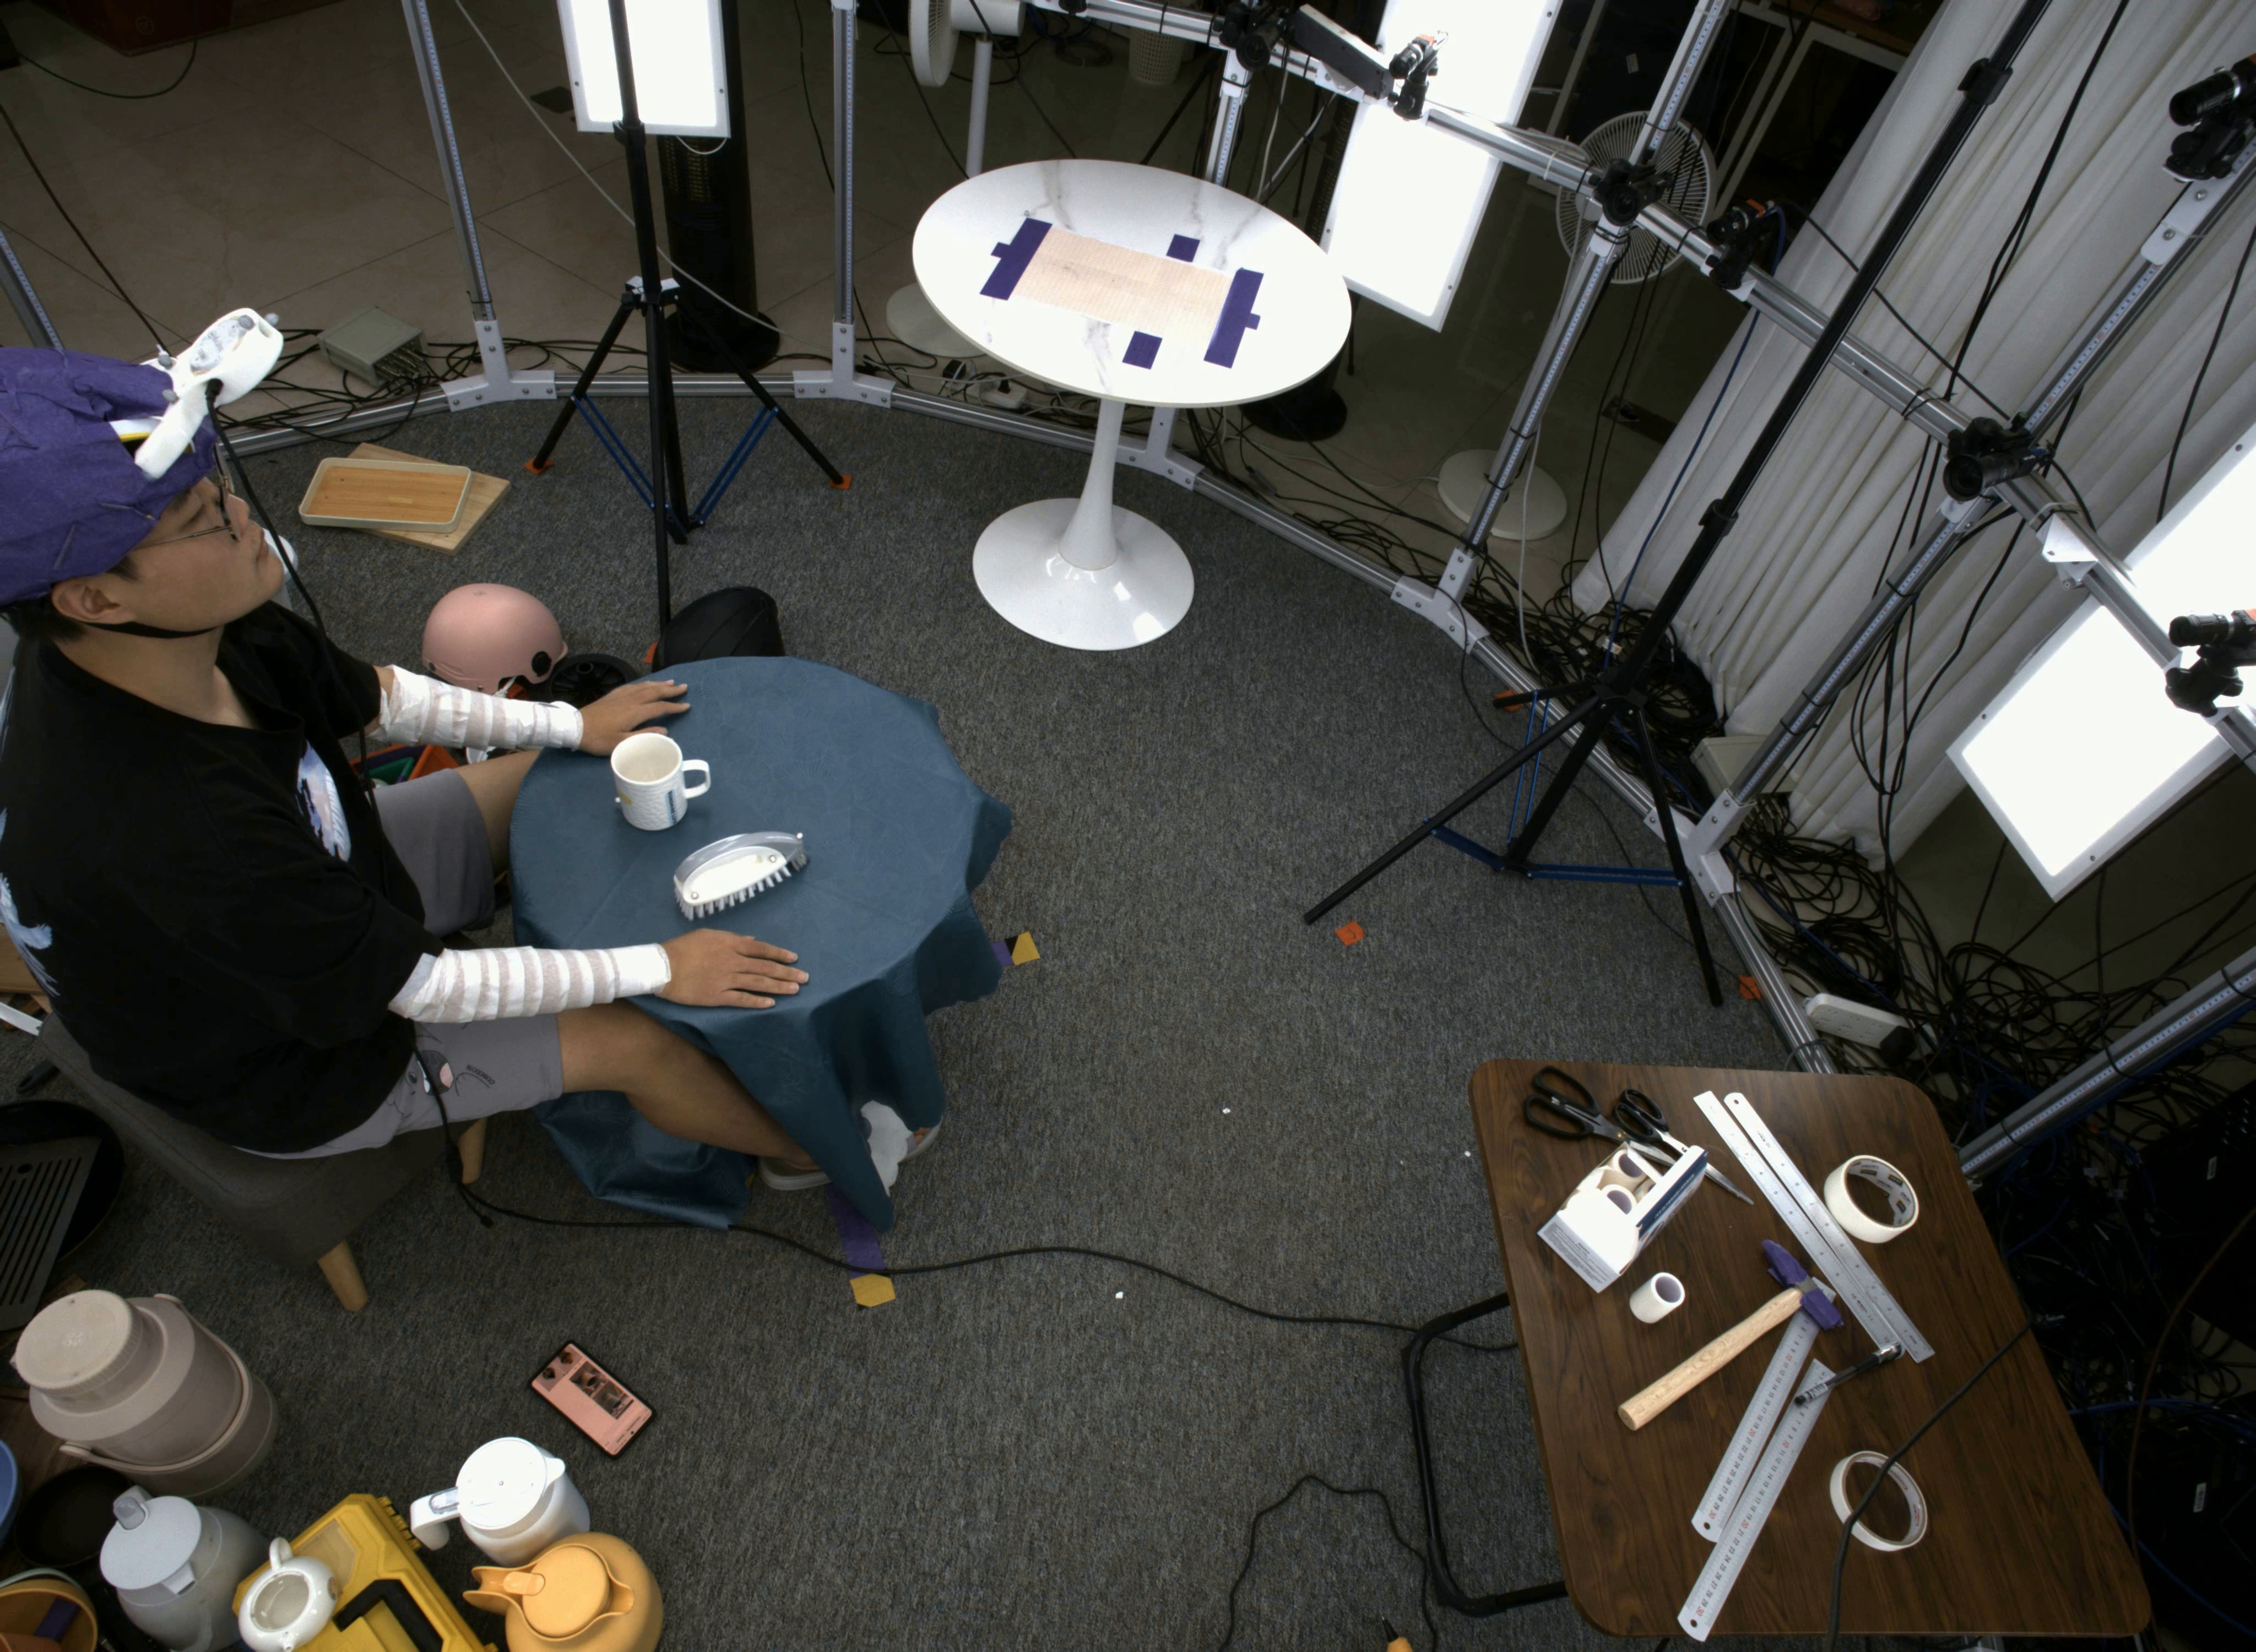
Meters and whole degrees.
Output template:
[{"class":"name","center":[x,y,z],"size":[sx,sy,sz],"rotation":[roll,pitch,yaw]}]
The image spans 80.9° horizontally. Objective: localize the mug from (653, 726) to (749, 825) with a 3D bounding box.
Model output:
[{"class":"mug","center":[-0.556,-0.066,1.684],"size":[0.118,0.104,0.083],"rotation":[-5,54,-17]}]

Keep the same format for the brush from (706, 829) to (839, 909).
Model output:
[{"class":"brush","center":[-0.447,0.036,1.643],"size":[0.176,0.095,0.060],"rotation":[-19,64,-27]}]
